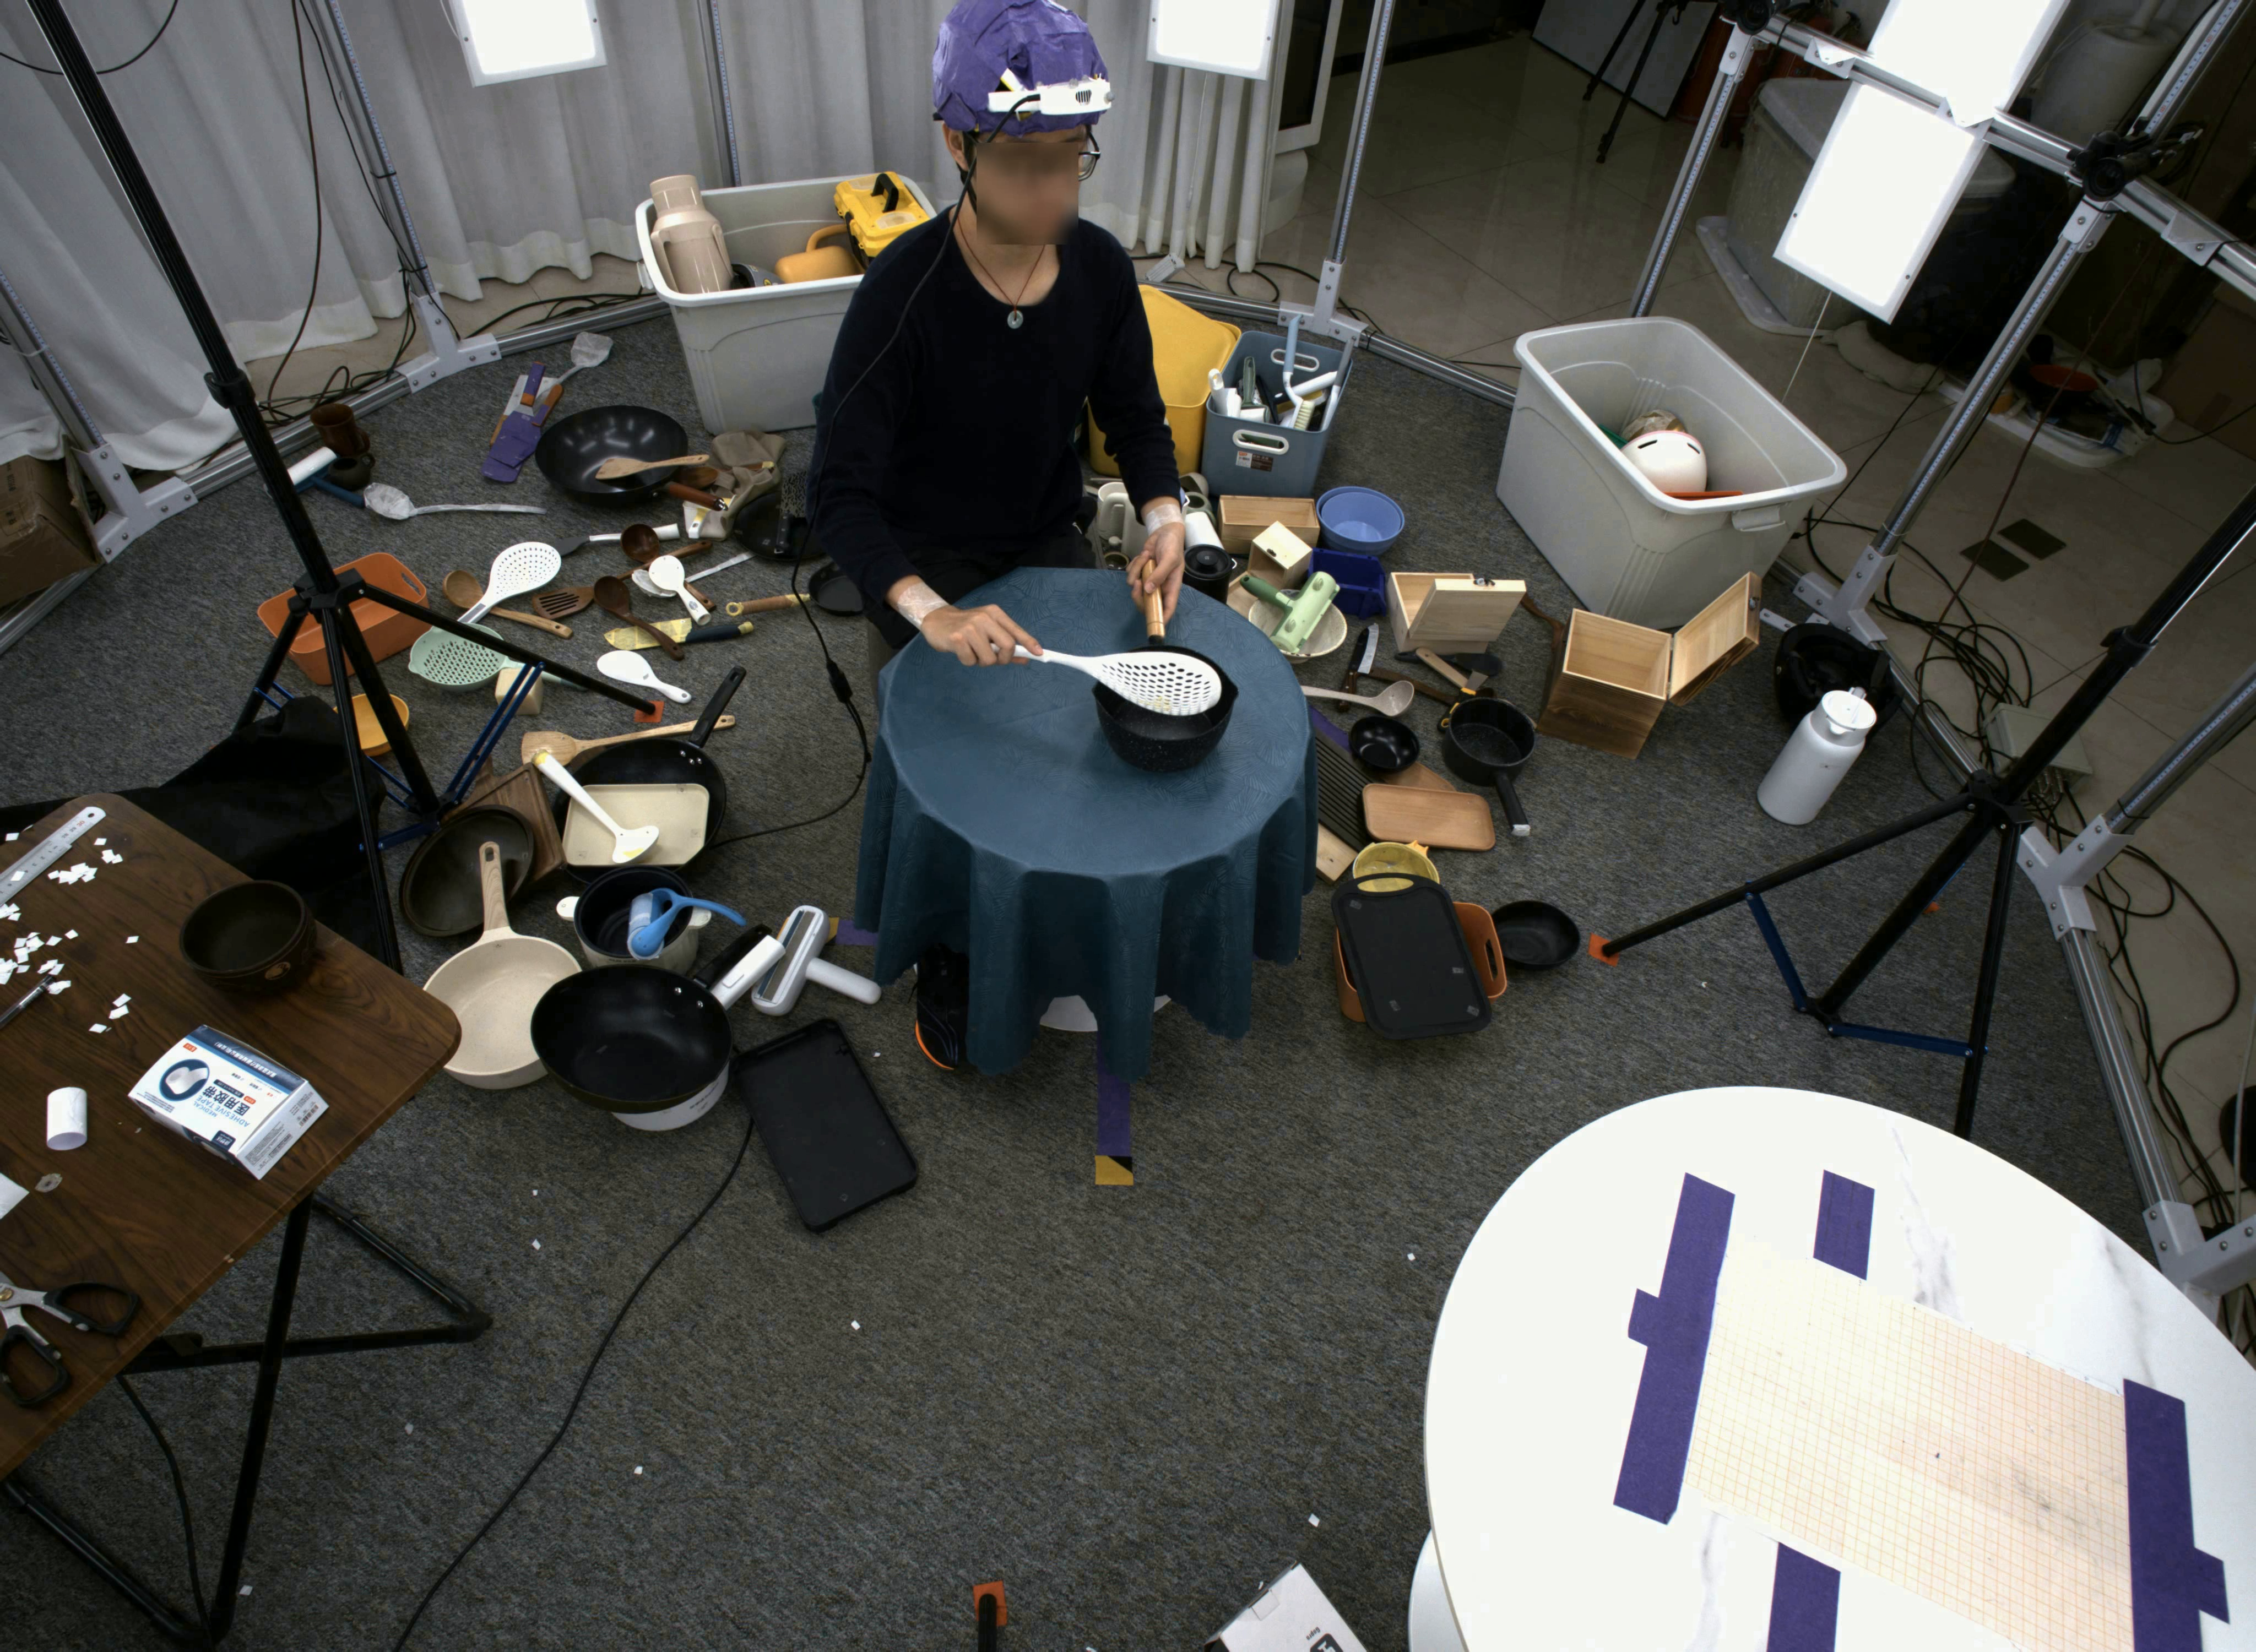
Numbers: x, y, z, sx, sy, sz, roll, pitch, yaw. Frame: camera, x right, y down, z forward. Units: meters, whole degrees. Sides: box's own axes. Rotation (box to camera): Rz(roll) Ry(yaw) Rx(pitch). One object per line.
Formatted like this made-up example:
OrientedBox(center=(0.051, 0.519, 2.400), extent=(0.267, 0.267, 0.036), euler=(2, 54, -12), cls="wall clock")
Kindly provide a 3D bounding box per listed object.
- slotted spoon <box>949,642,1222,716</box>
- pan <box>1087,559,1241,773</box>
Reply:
OrientedBox(center=(-0.054, -0.198, 1.635), extent=(0.348, 0.134, 0.051), euler=(15, 66, 4), cls="slotted spoon")
OrientedBox(center=(0.040, -0.224, 1.797), extent=(0.207, 0.105, 0.351), euler=(-3, 51, -5), cls="pan")
